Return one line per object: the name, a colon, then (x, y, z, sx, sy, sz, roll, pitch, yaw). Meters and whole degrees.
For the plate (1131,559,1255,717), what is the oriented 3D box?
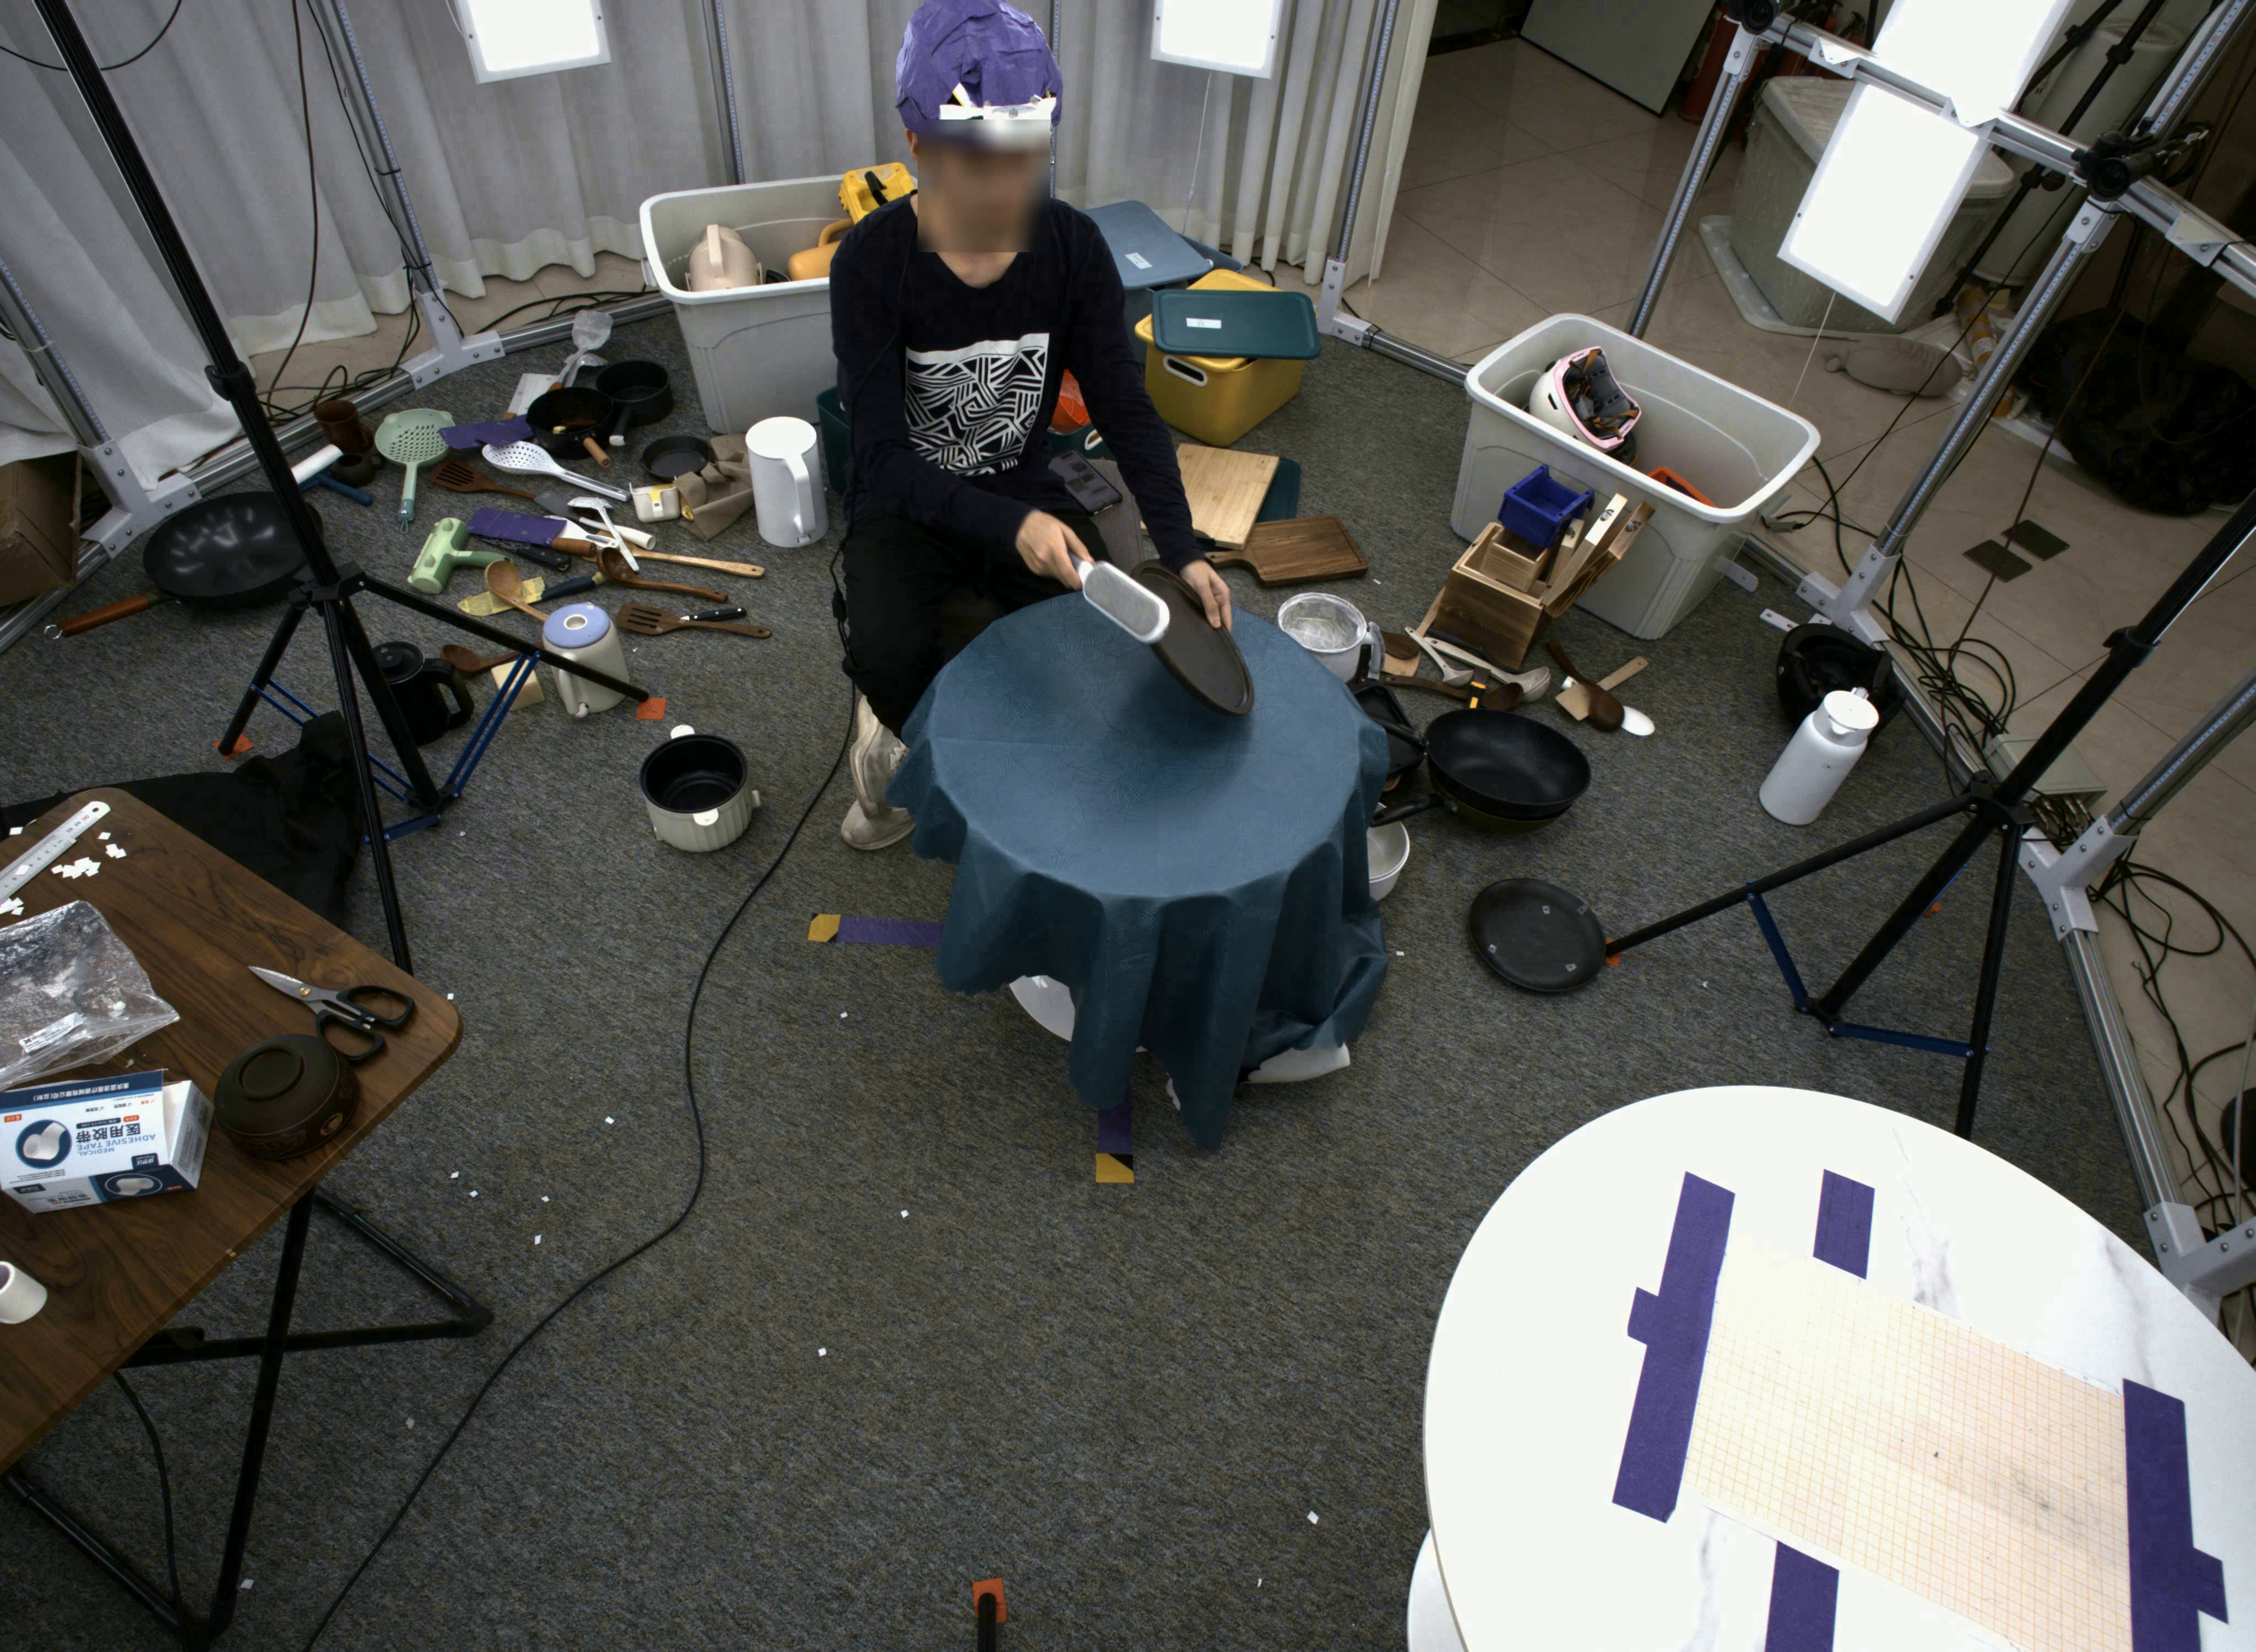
plate: (0.089, -0.256, 1.757, 0.029, 0.250, 0.261, -34, 45, 25)

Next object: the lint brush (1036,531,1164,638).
lint brush: (-0.042, -0.332, 1.717, 0.021, 0.059, 0.315, 9, 24, -40)
